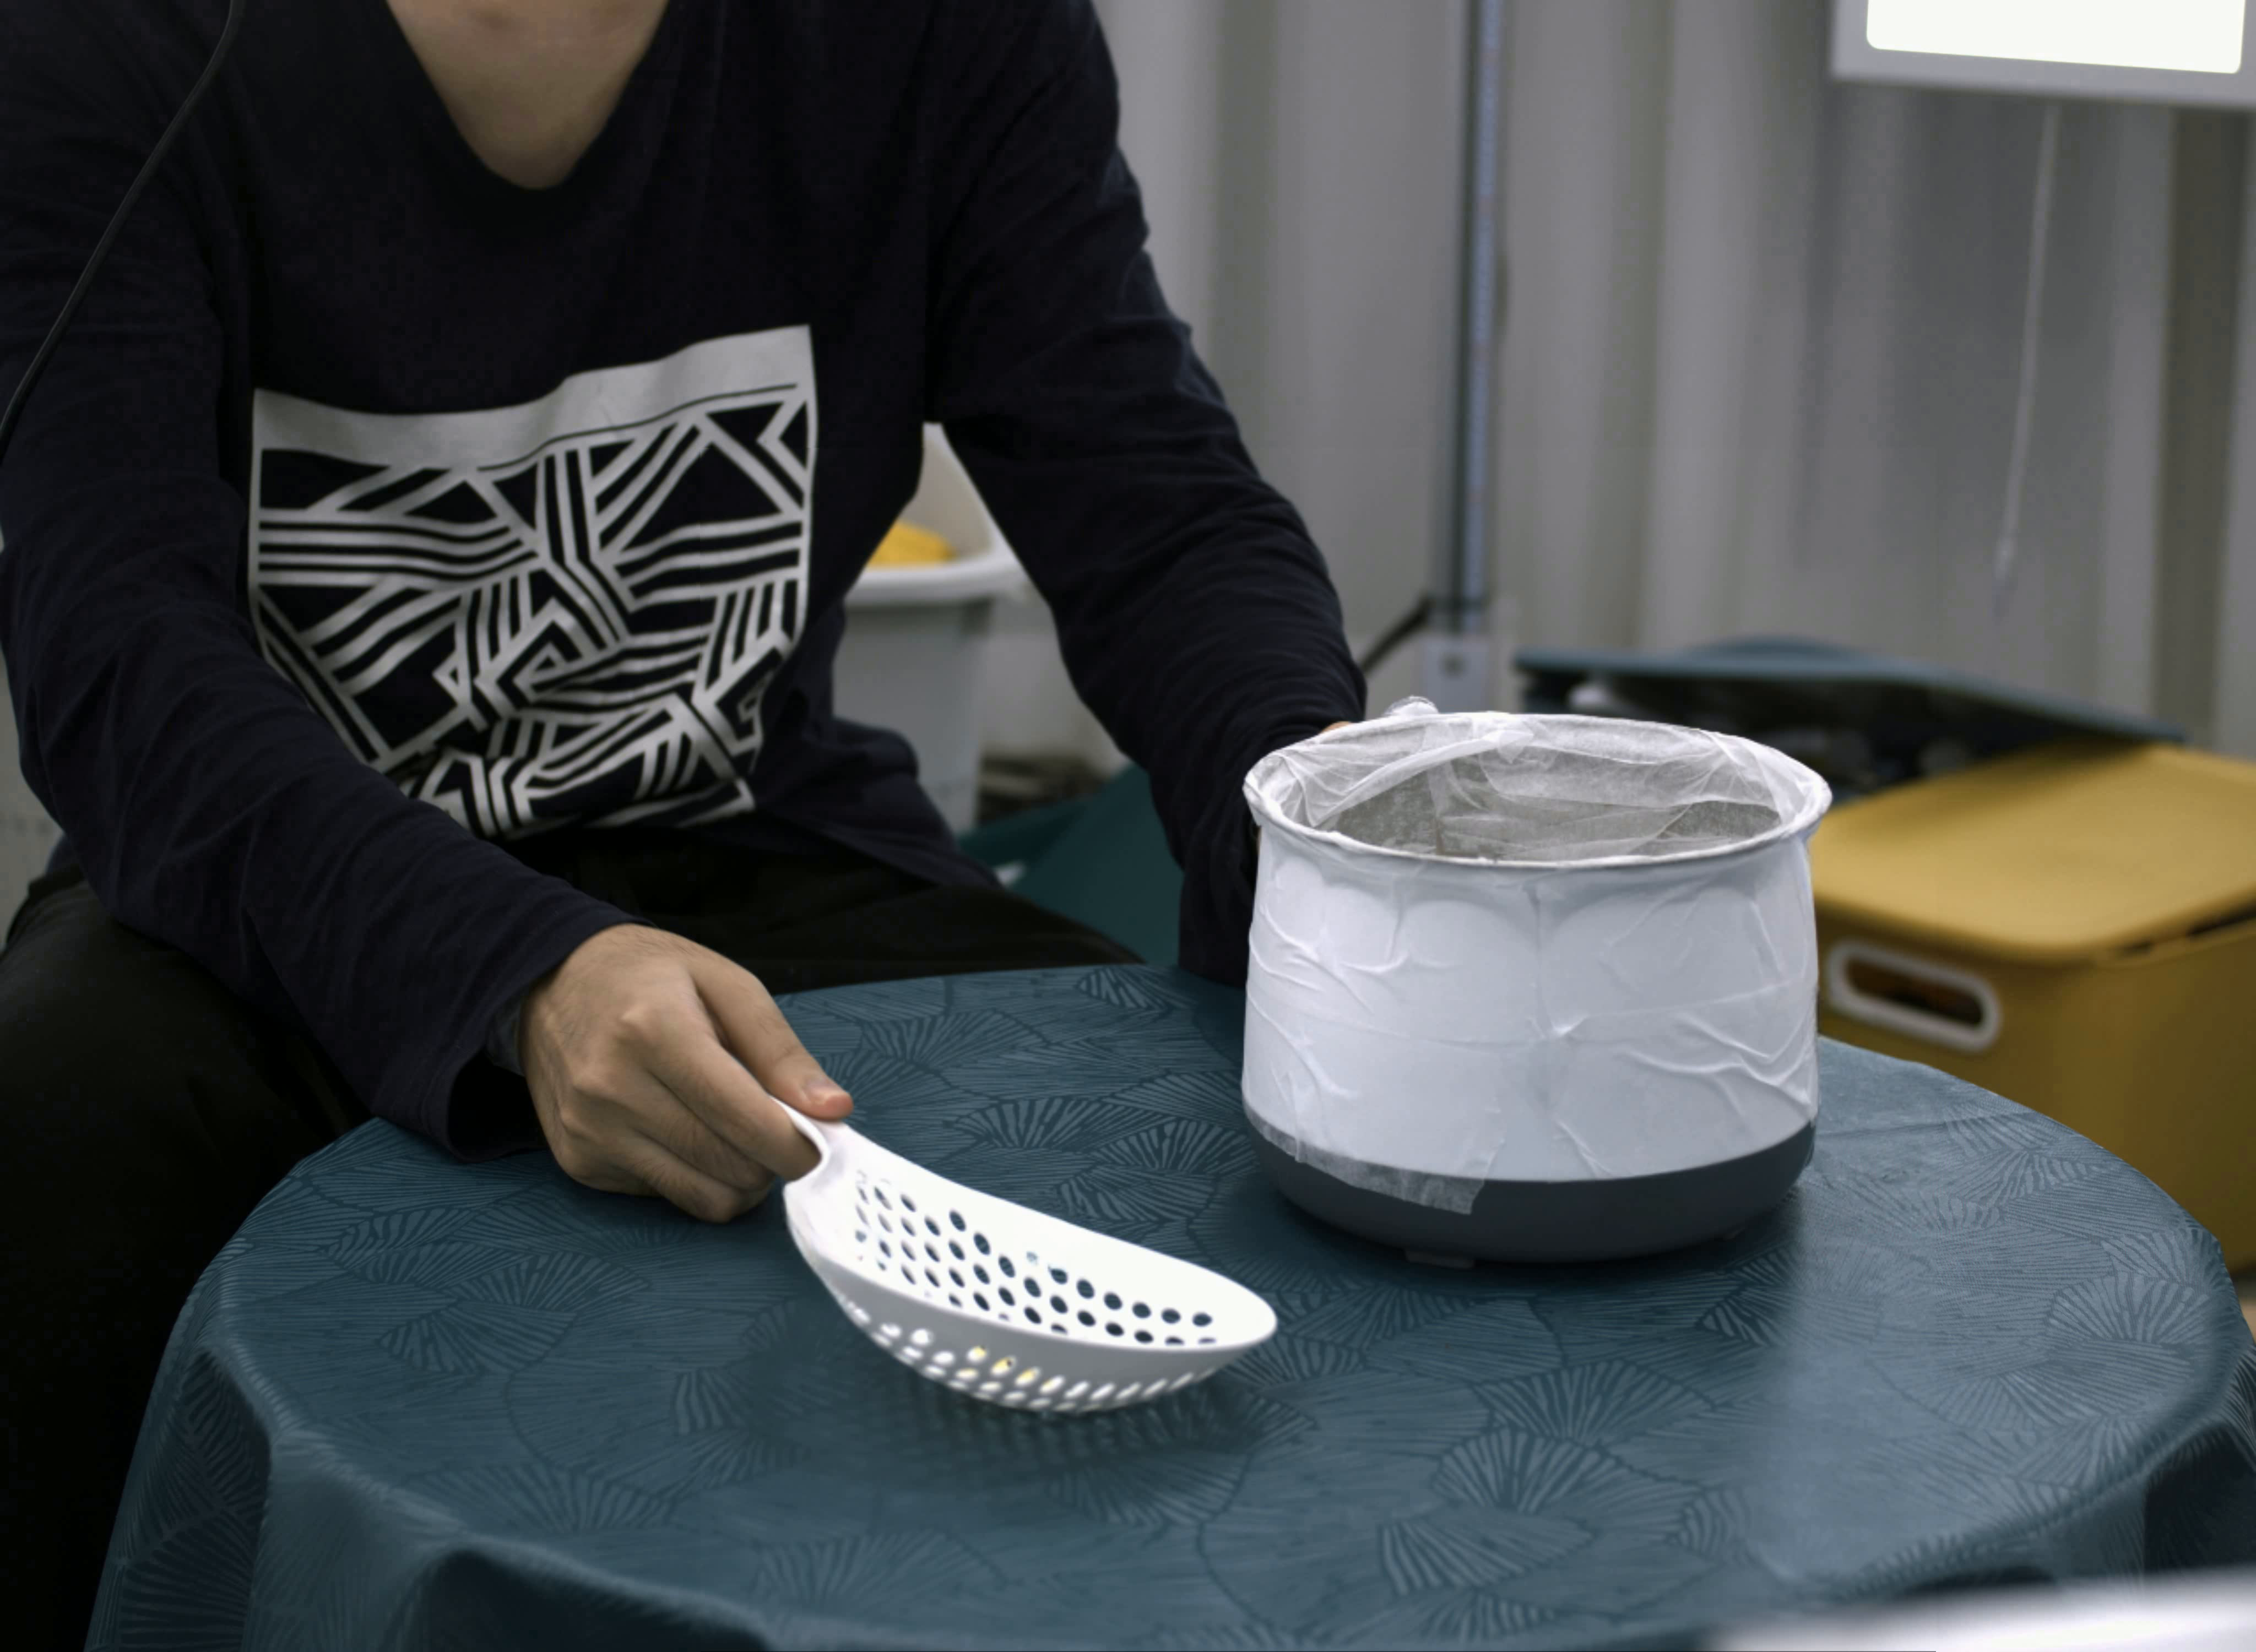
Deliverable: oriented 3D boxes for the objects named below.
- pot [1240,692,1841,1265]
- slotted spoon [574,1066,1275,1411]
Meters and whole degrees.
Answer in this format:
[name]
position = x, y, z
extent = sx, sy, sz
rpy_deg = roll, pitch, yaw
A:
[pot]
position = 0.114, 0.042, 1.627
extent = 0.179, 0.137, 0.231
rpy_deg = -3, 16, -21
[slotted spoon]
position = -0.081, 0.107, 1.538
extent = 0.138, 0.050, 0.343
rpy_deg = 6, 13, -30
